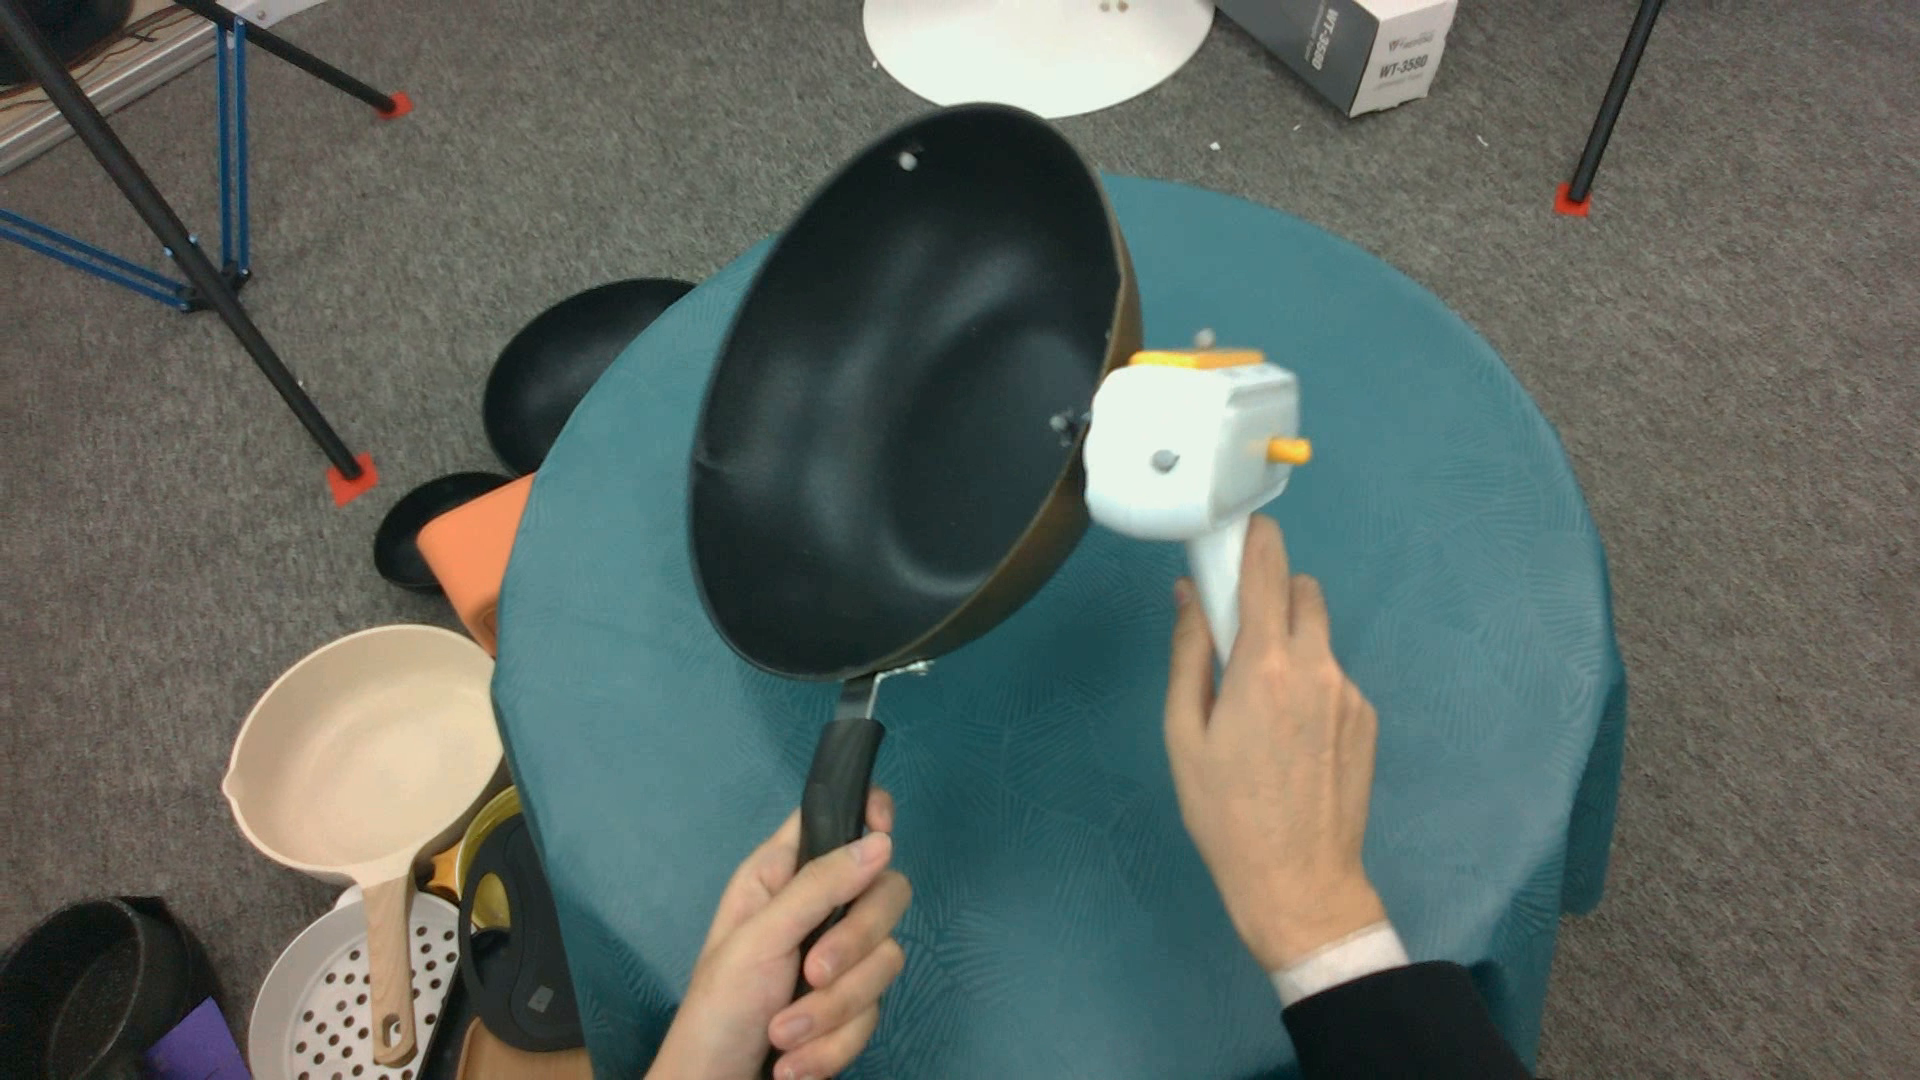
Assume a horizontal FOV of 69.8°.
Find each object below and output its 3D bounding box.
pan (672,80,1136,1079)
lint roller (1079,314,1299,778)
[{"bbox_3d":[-0.027,0.016,0.619,0.287,0.087,0.465,-14,62,41],"label":"pan"},{"bbox_3d":[0.106,0.006,0.573,0.074,0.192,0.193,-2,12,18],"label":"lint roller"}]
